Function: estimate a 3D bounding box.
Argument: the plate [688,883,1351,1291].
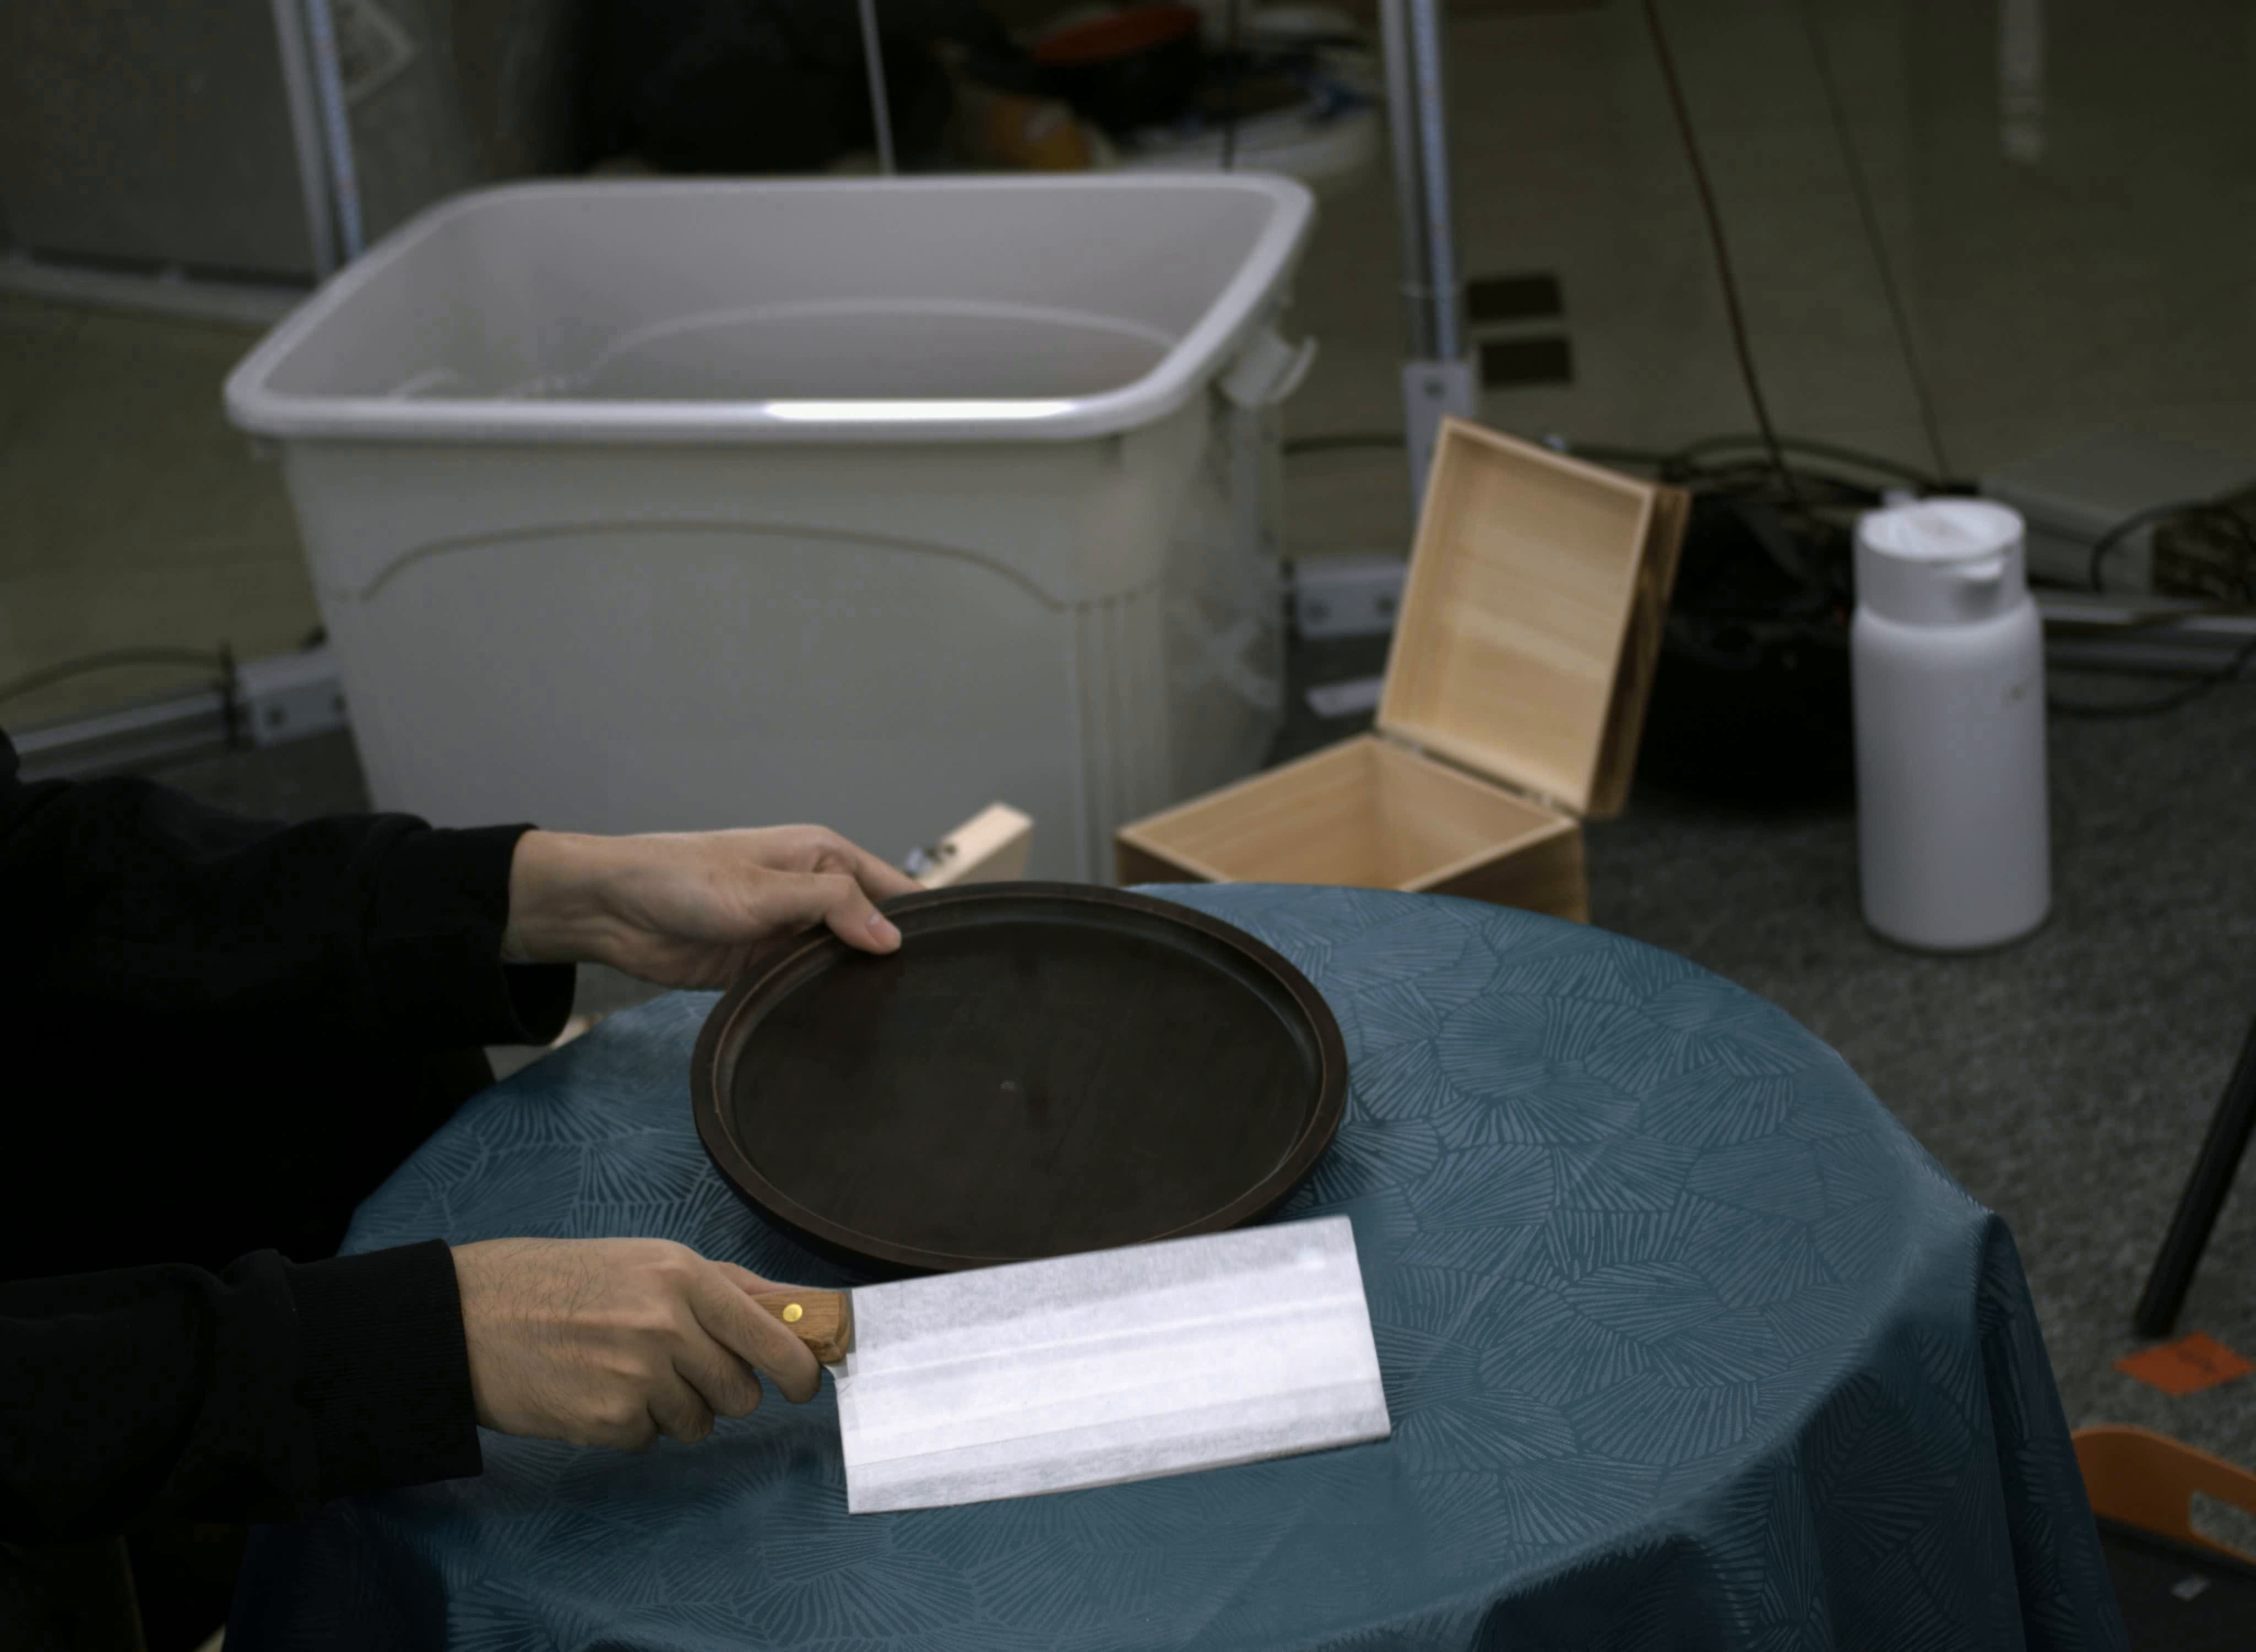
[{"bbox_3d":[-0.041,0.099,2.165,0.254,0.029,0.250,0,32,0],"label":"plate"}]

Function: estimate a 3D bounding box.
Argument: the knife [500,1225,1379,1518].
[{"bbox_3d":[-0.066,0.196,1.983,0.305,0.021,0.091,-8,56,-2],"label":"knife"}]
